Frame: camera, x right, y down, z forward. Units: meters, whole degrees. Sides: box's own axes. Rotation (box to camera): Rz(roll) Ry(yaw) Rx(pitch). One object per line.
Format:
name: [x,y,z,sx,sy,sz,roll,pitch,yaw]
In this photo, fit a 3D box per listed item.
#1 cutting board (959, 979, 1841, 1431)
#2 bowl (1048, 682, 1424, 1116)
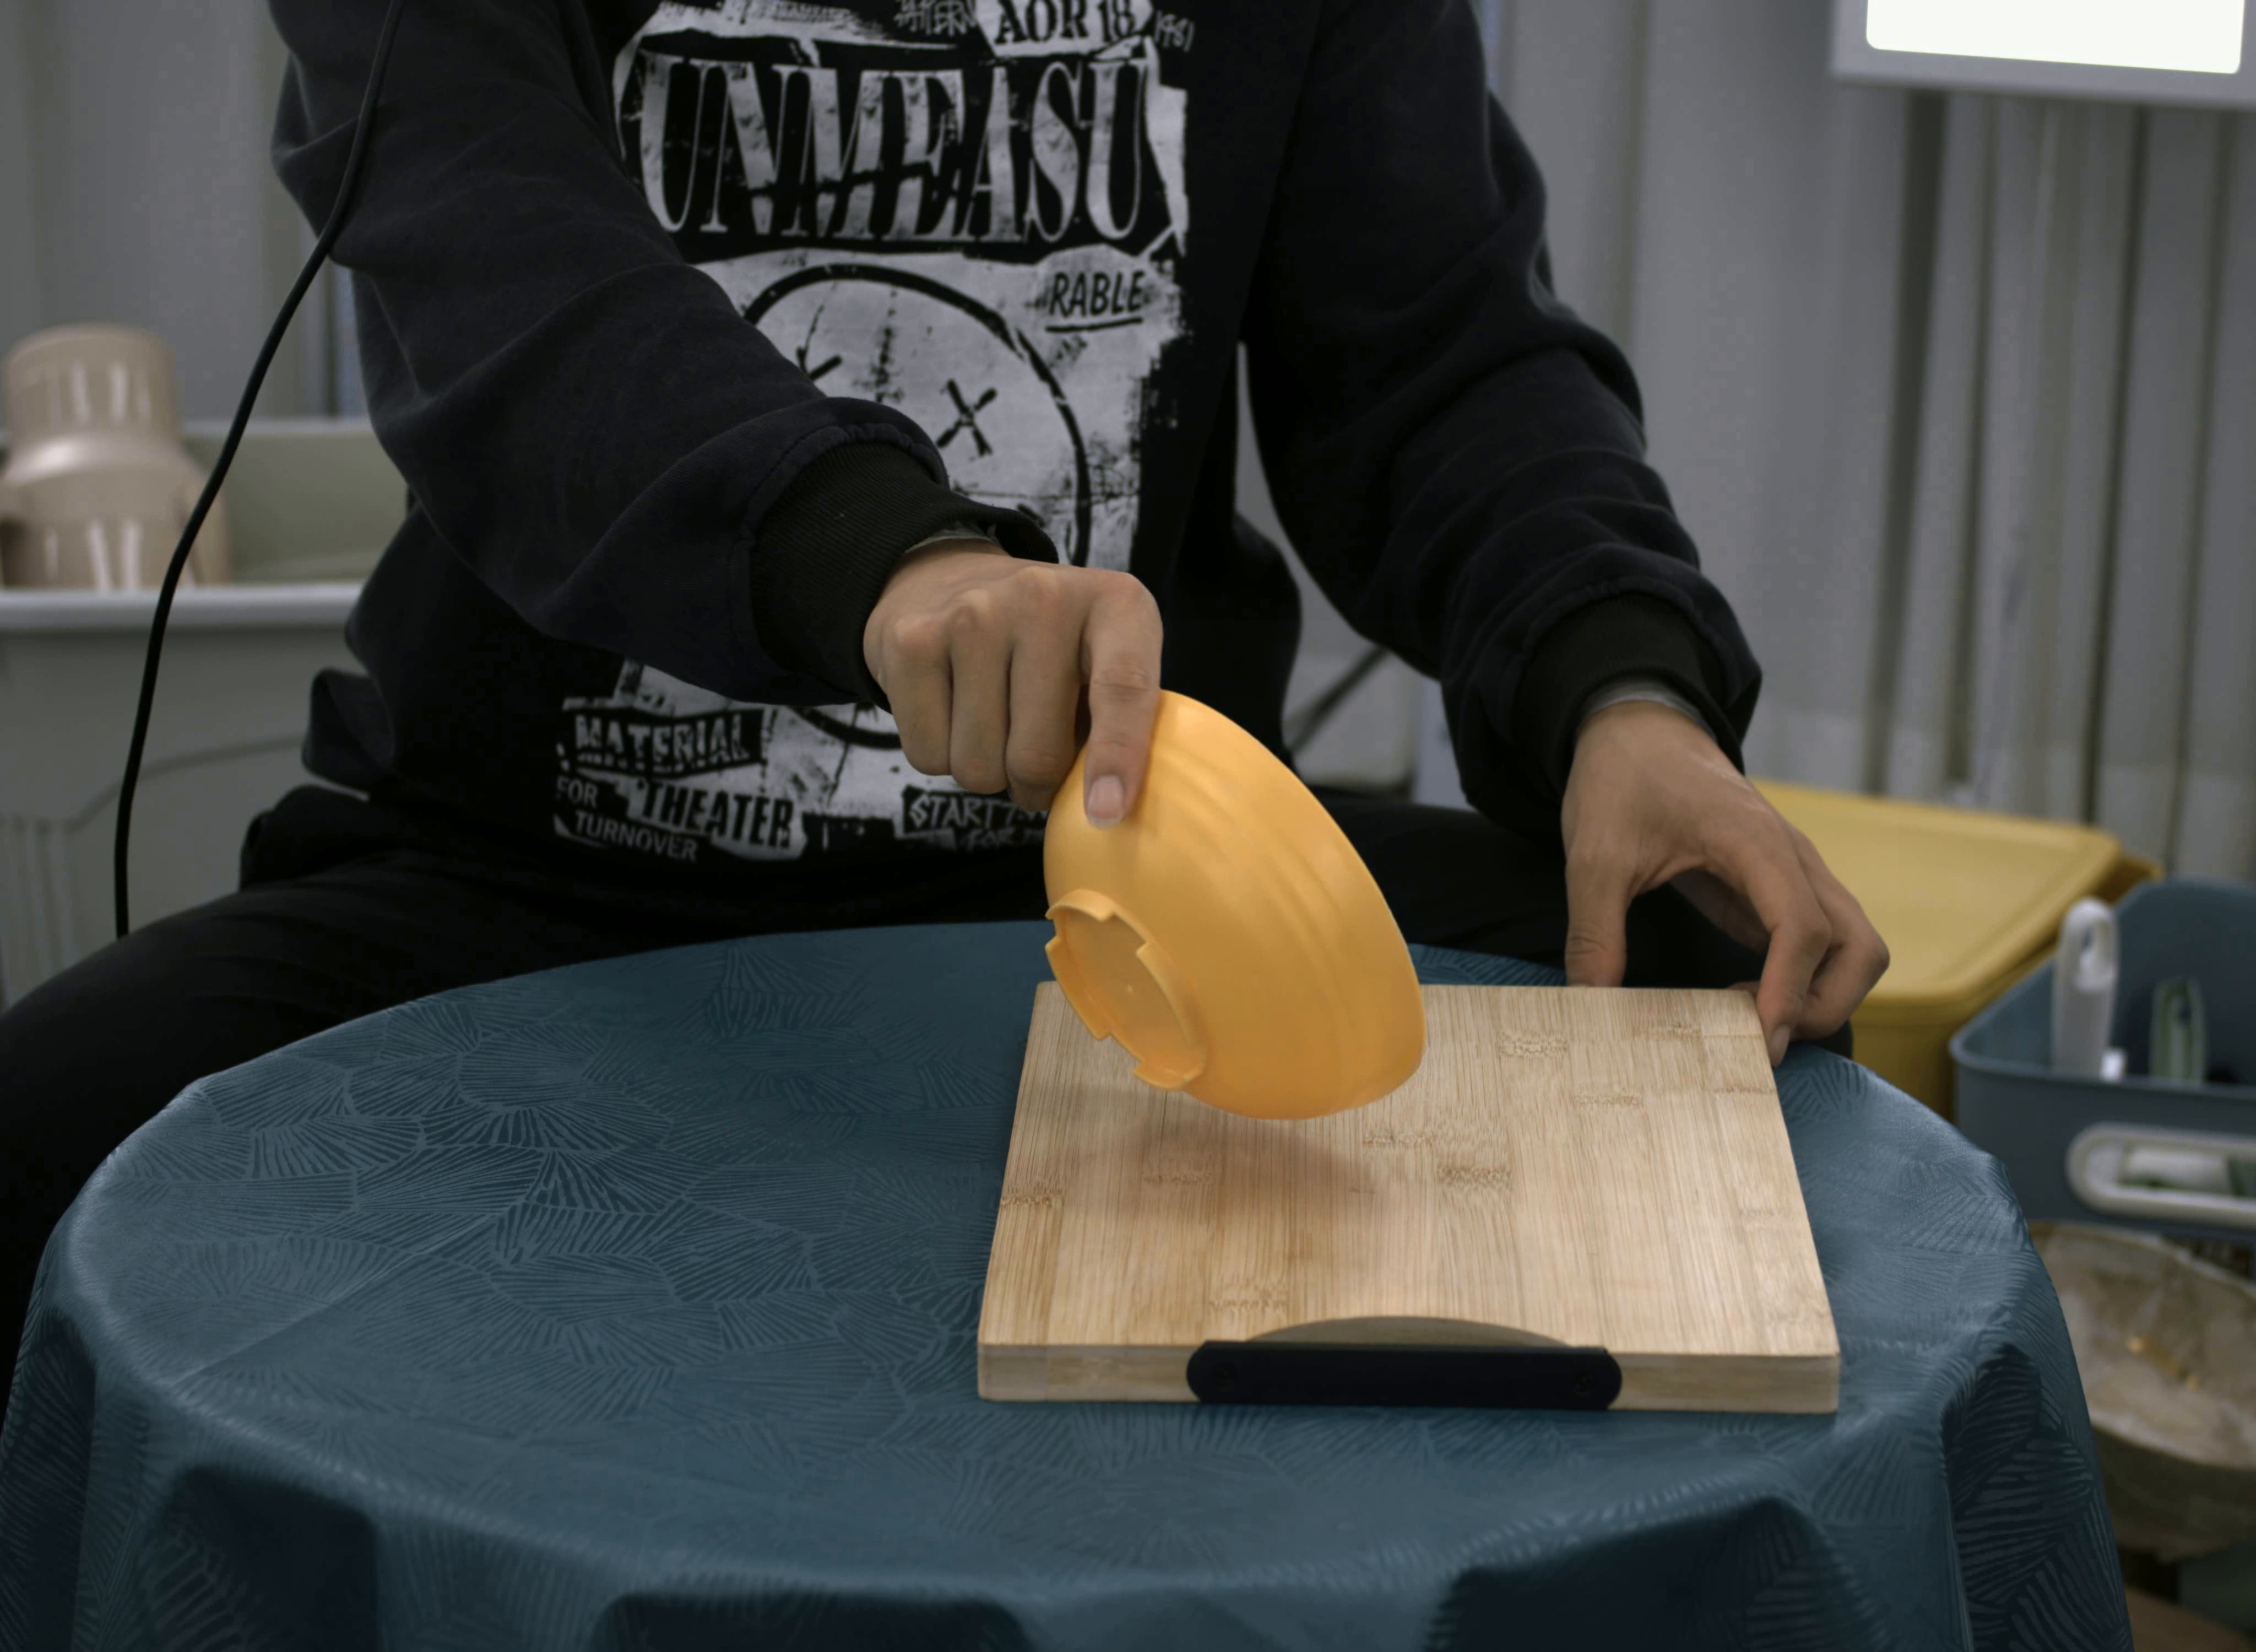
cutting board: [0.082,0.110,1.610,0.250,0.024,0.347,1,16,1]
bowl: [0.019,0.034,1.564,0.060,0.147,0.143,-35,32,-23]
